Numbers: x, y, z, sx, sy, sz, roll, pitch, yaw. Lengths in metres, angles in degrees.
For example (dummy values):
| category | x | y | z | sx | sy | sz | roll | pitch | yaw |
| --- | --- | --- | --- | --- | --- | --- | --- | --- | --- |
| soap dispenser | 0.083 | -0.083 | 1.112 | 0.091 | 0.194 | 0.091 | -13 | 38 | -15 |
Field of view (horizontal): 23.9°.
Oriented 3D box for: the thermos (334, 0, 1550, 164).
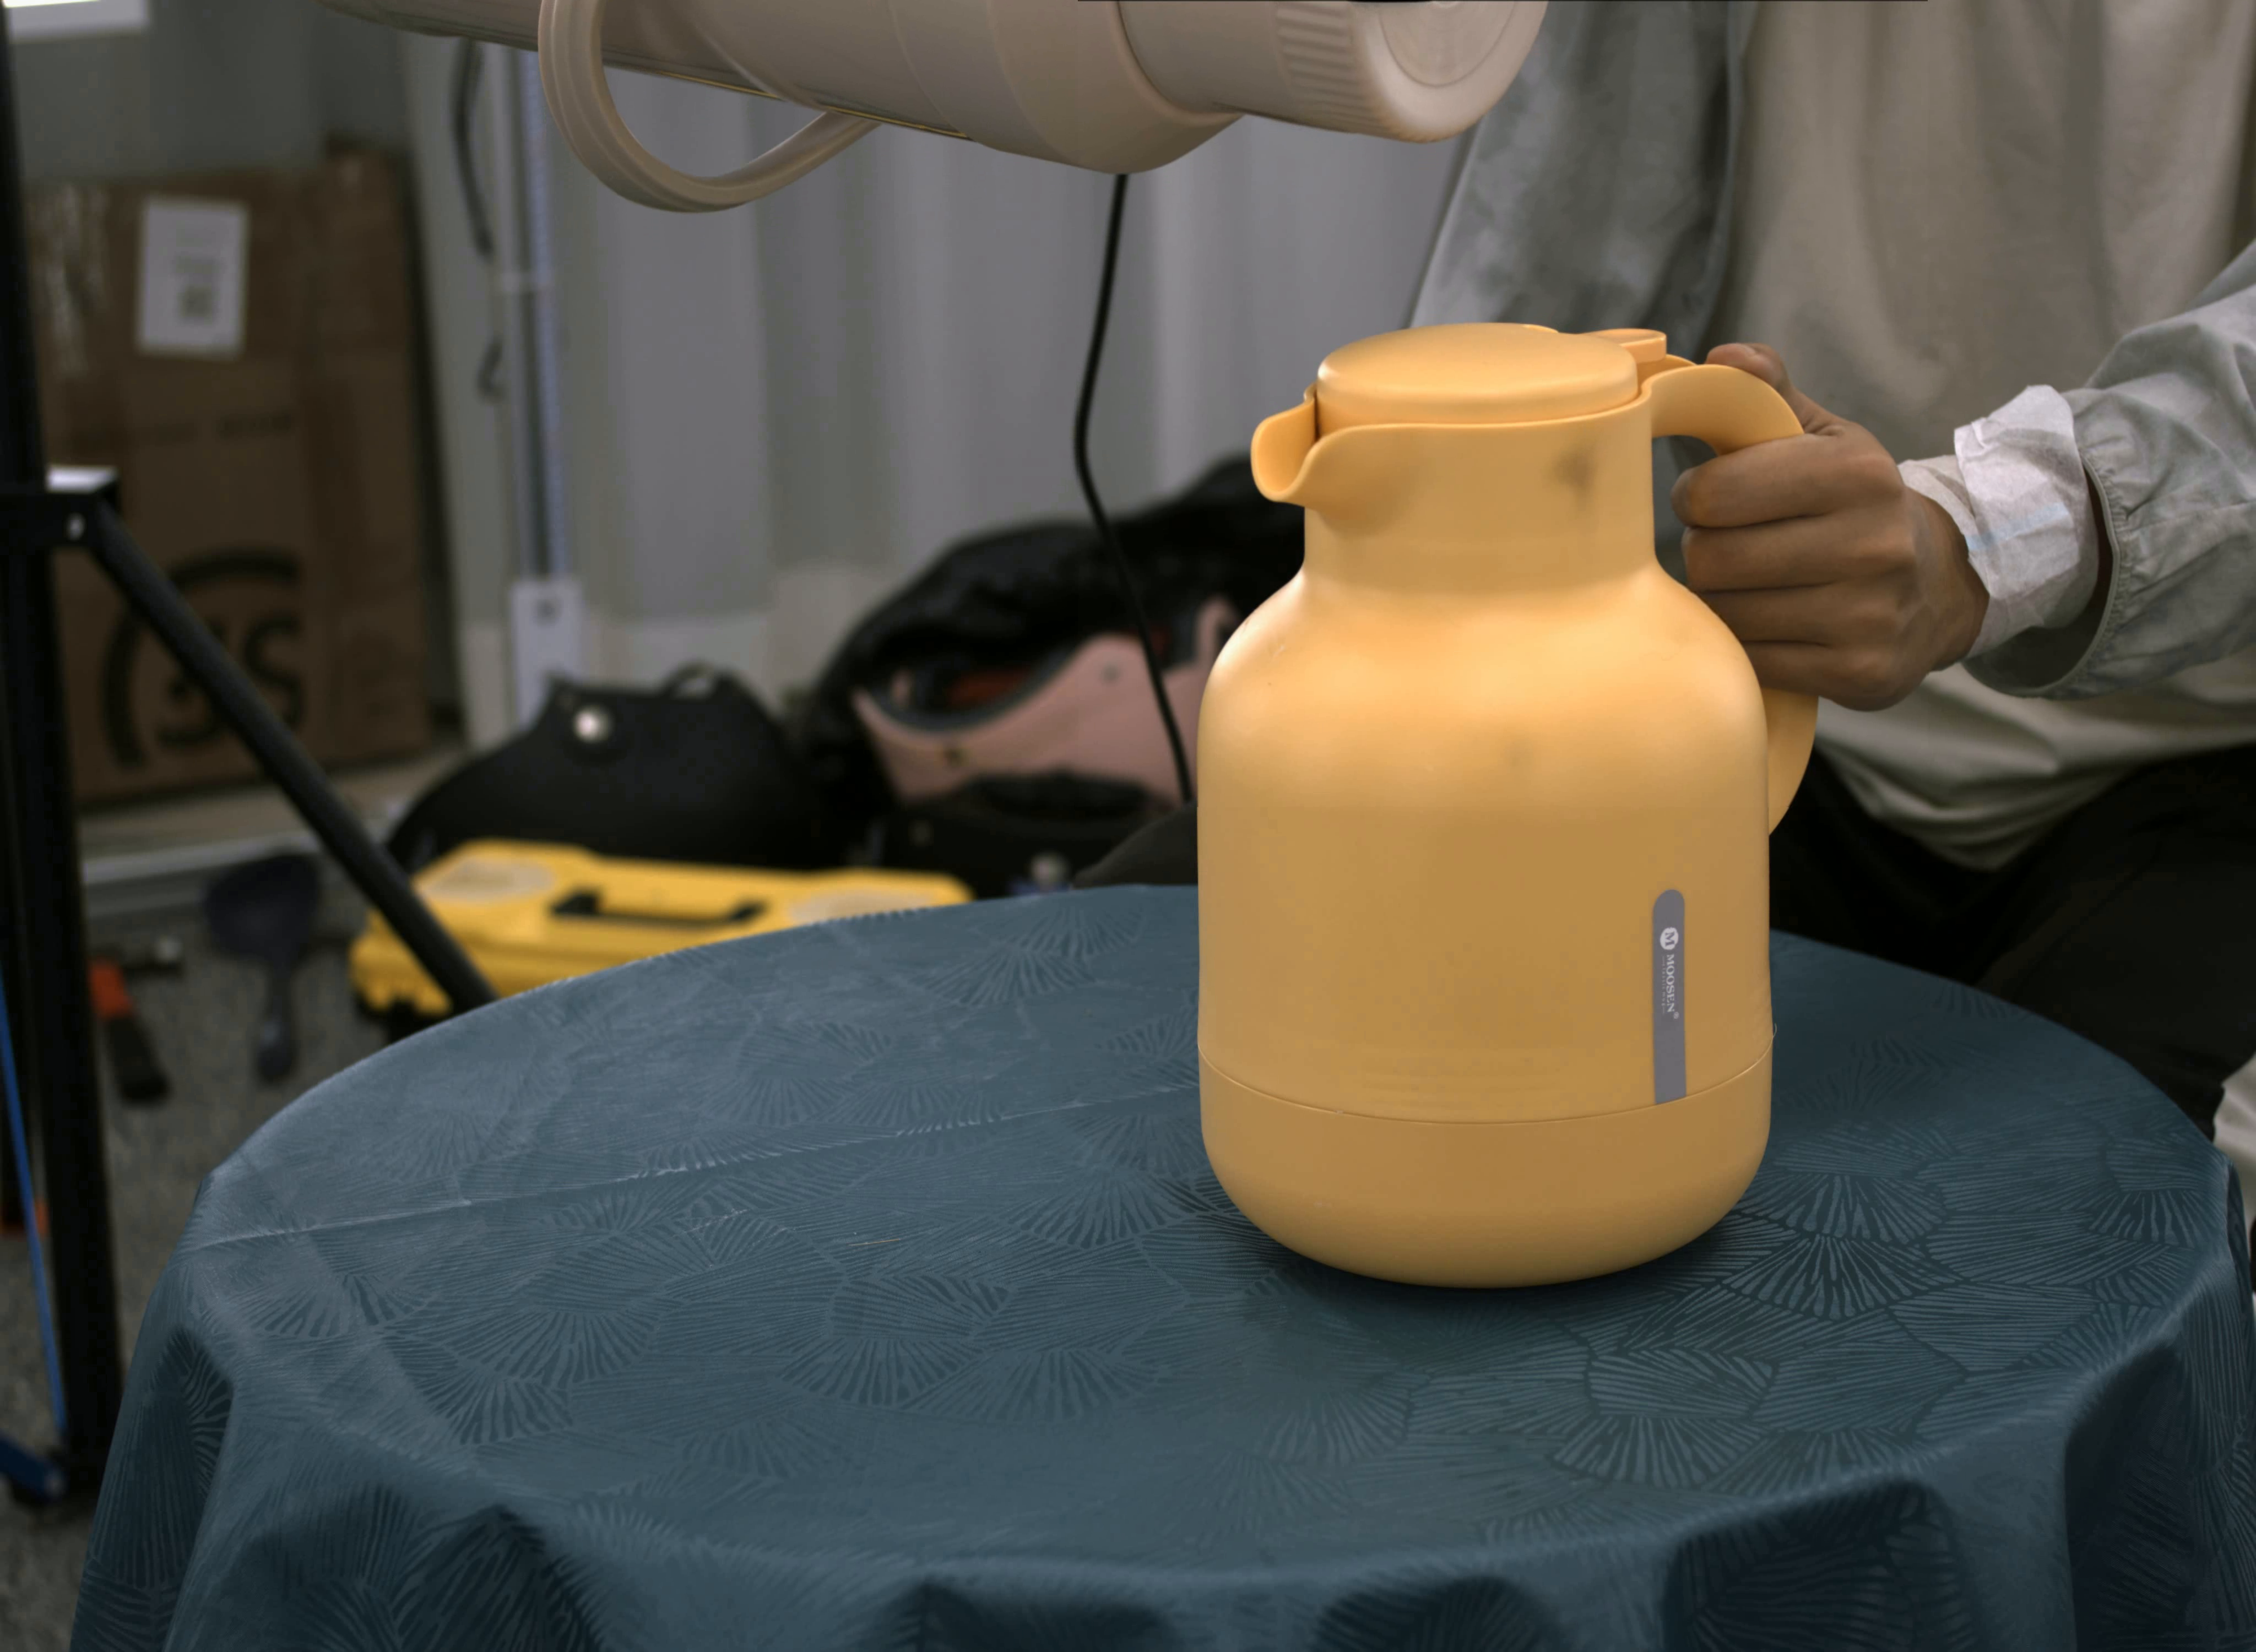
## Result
| category | x | y | z | sx | sy | sz | roll | pitch | yaw |
| --- | --- | --- | --- | --- | --- | --- | --- | --- | --- |
| thermos | -0.062 | -0.298 | 1.557 | 0.415 | 0.208 | 0.171 | 16 | -2 | 37 |

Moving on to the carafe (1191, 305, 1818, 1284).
| category | x | y | z | sx | sy | sz | roll | pitch | yaw |
| --- | --- | --- | --- | --- | --- | --- | --- | --- | --- |
| carafe | 0.114 | -0.016 | 1.494 | 0.198 | 0.260 | 0.167 | -13 | 21 | -32 |
